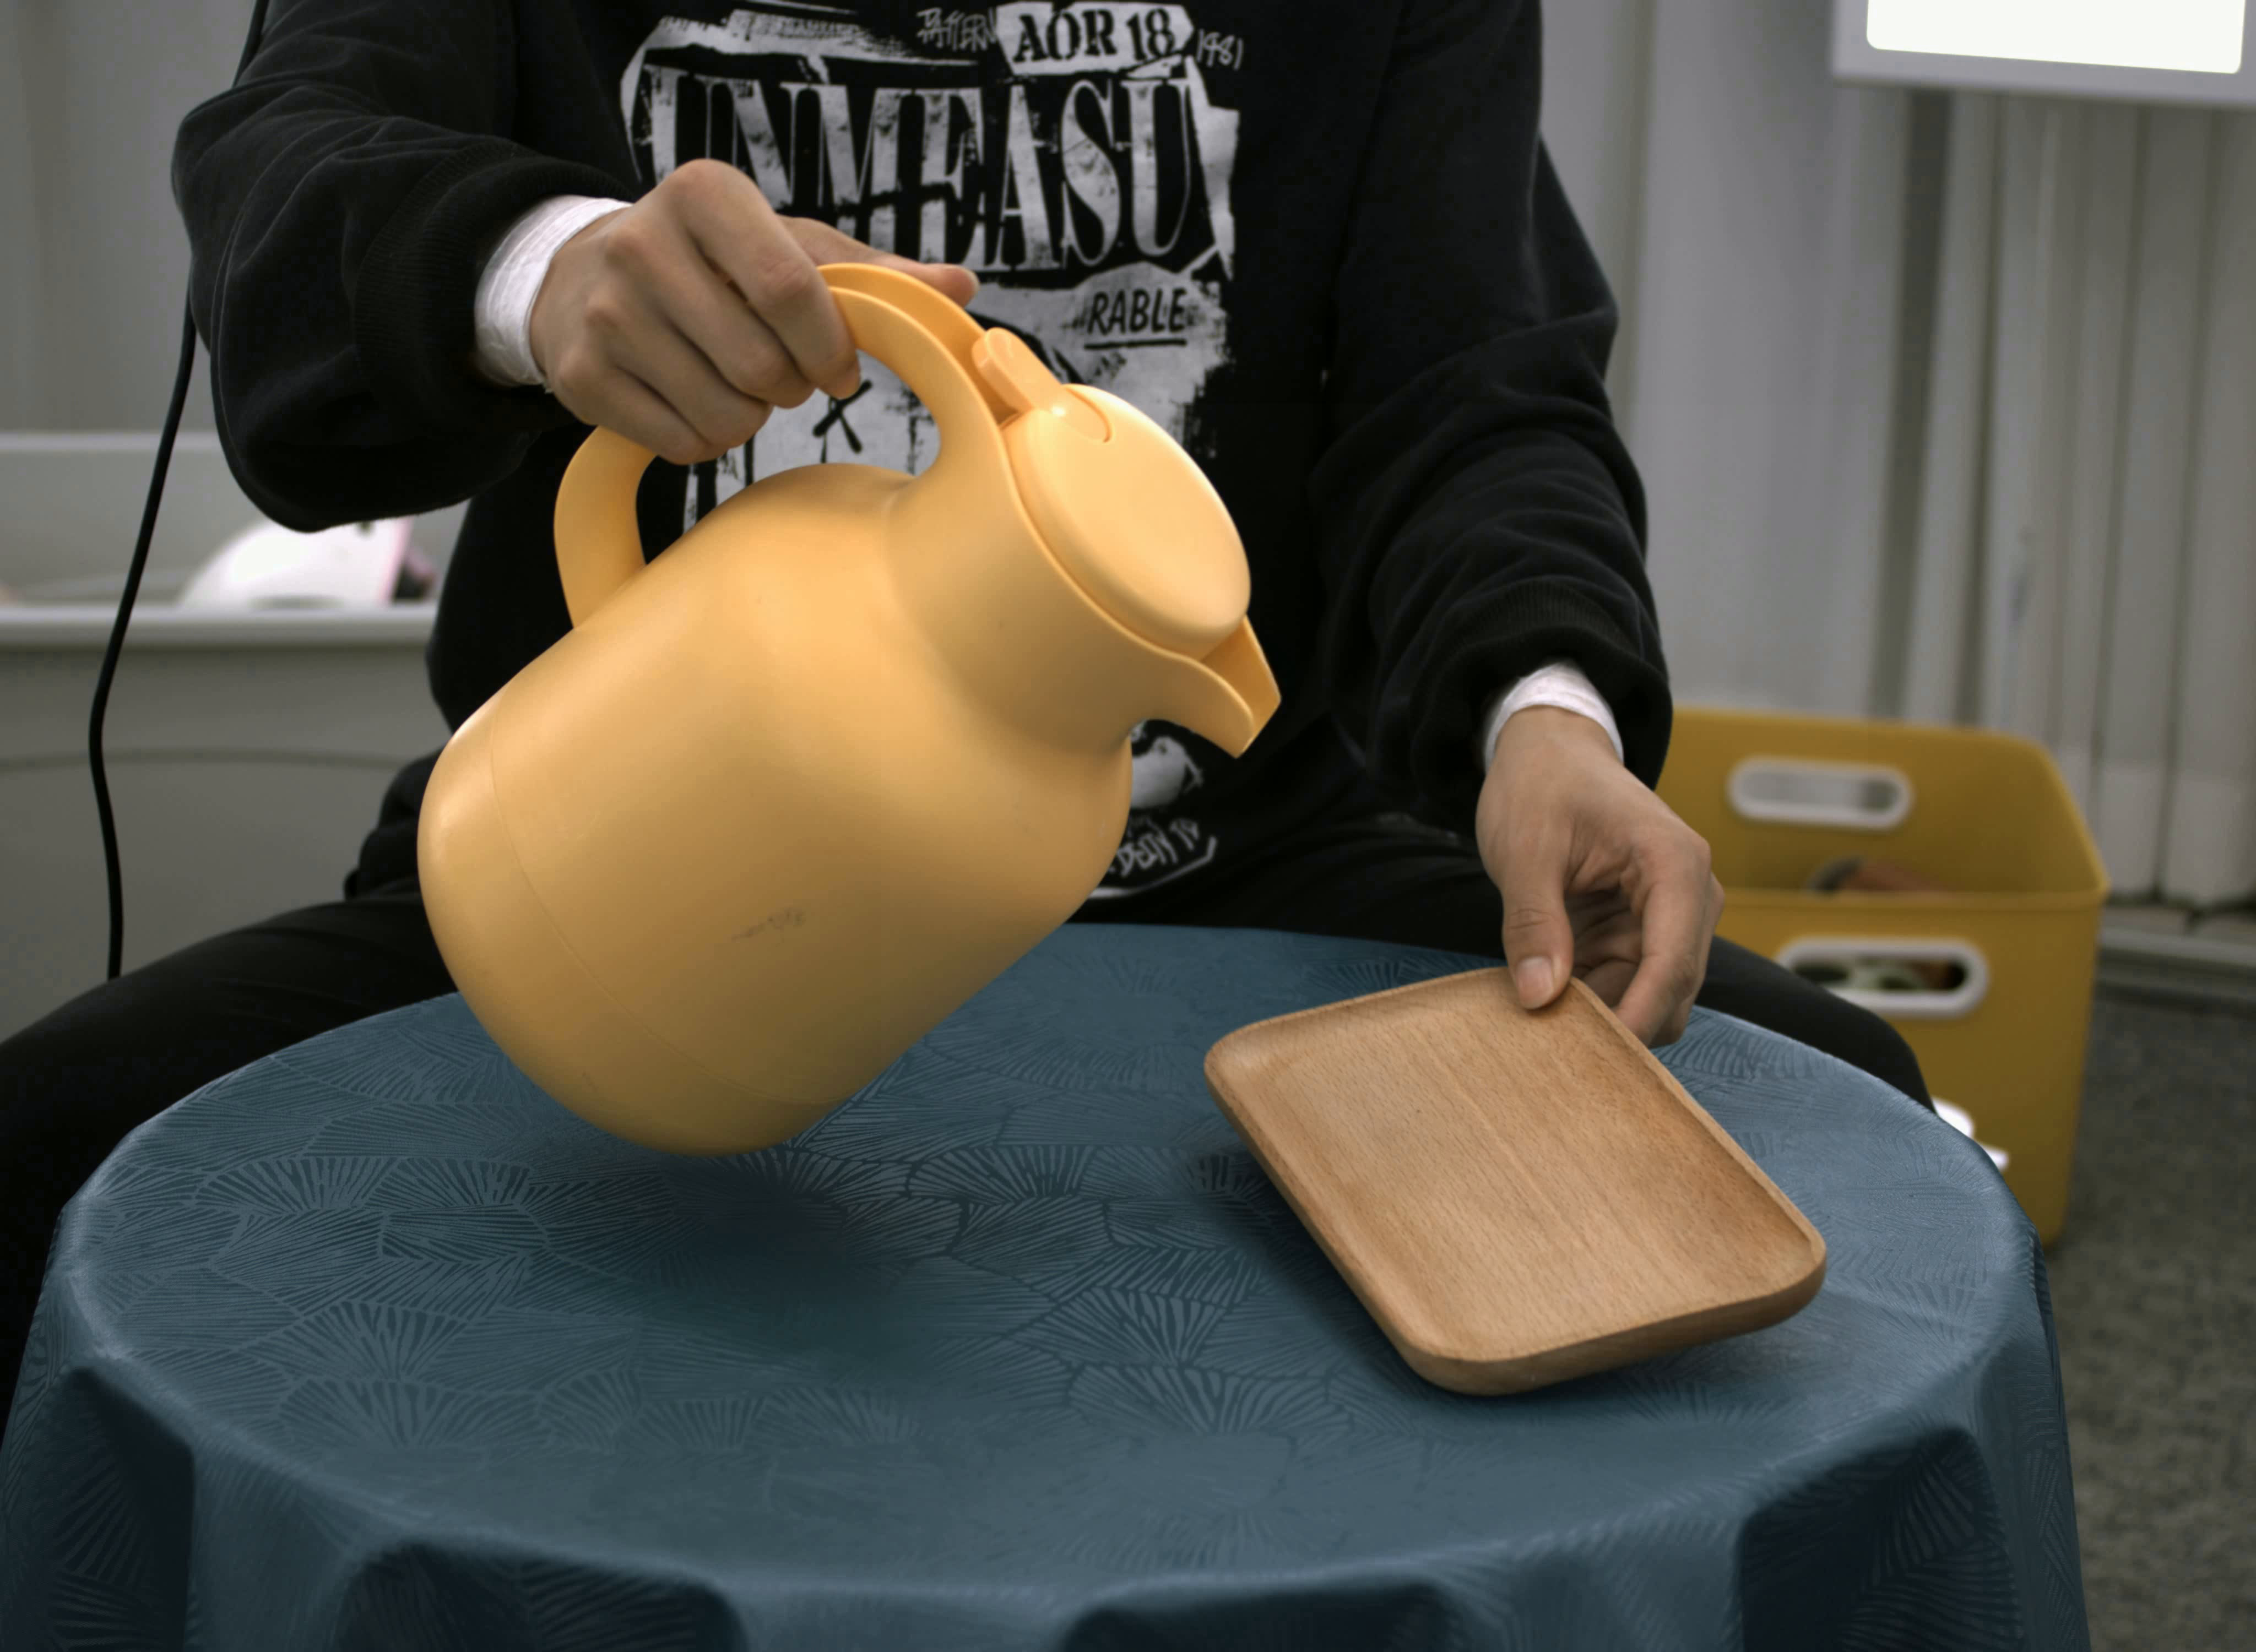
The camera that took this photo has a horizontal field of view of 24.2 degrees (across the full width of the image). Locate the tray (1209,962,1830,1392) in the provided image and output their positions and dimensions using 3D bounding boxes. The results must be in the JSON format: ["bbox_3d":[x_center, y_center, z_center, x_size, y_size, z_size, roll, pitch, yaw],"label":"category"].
[{"bbox_3d":[0.112,0.101,1.570,0.130,0.023,0.248,-10,21,-11],"label":"tray"}]

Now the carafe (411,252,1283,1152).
[{"bbox_3d":[-0.092,-0.042,1.552,0.260,0.203,0.163,-37,3,27],"label":"carafe"}]
